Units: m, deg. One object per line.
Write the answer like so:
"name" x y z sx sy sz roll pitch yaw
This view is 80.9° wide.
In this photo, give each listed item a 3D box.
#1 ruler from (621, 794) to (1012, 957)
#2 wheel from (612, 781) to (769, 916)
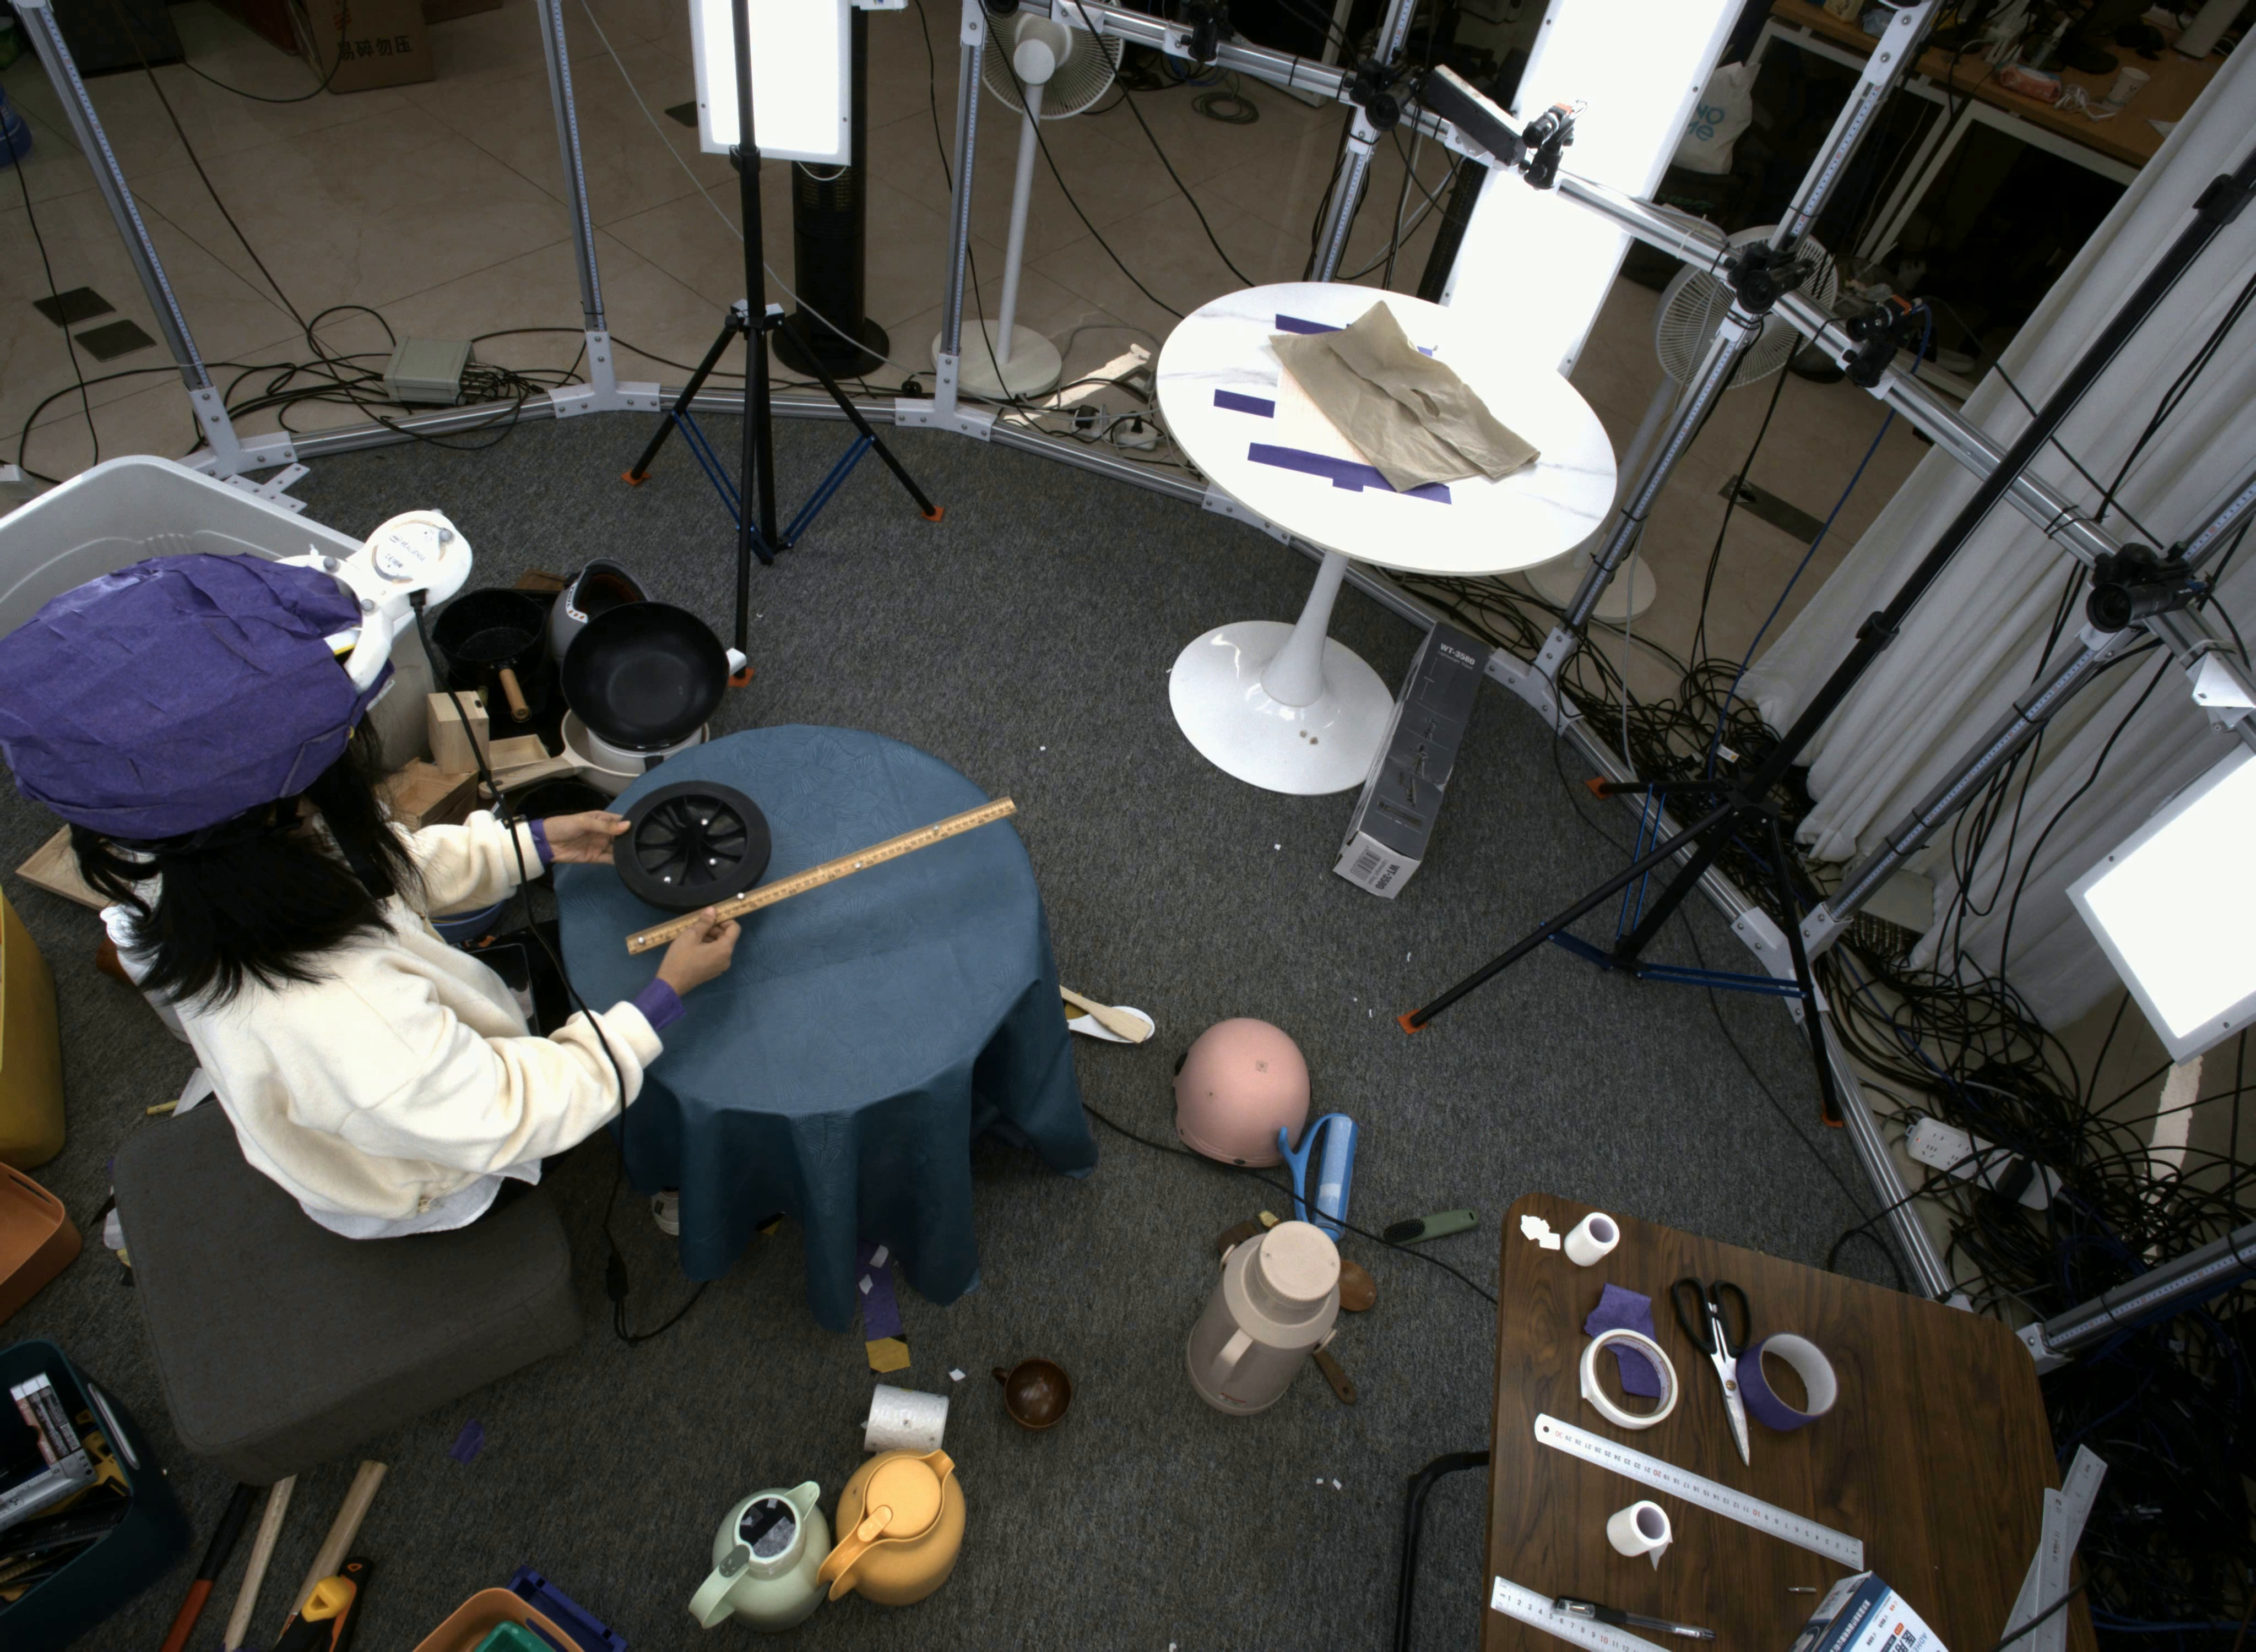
"ruler" -0.369 0.054 1.577 0.502 0.006 0.026 -22 69 -22
"wheel" -0.533 0.010 1.557 0.187 0.080 0.187 30 55 8
